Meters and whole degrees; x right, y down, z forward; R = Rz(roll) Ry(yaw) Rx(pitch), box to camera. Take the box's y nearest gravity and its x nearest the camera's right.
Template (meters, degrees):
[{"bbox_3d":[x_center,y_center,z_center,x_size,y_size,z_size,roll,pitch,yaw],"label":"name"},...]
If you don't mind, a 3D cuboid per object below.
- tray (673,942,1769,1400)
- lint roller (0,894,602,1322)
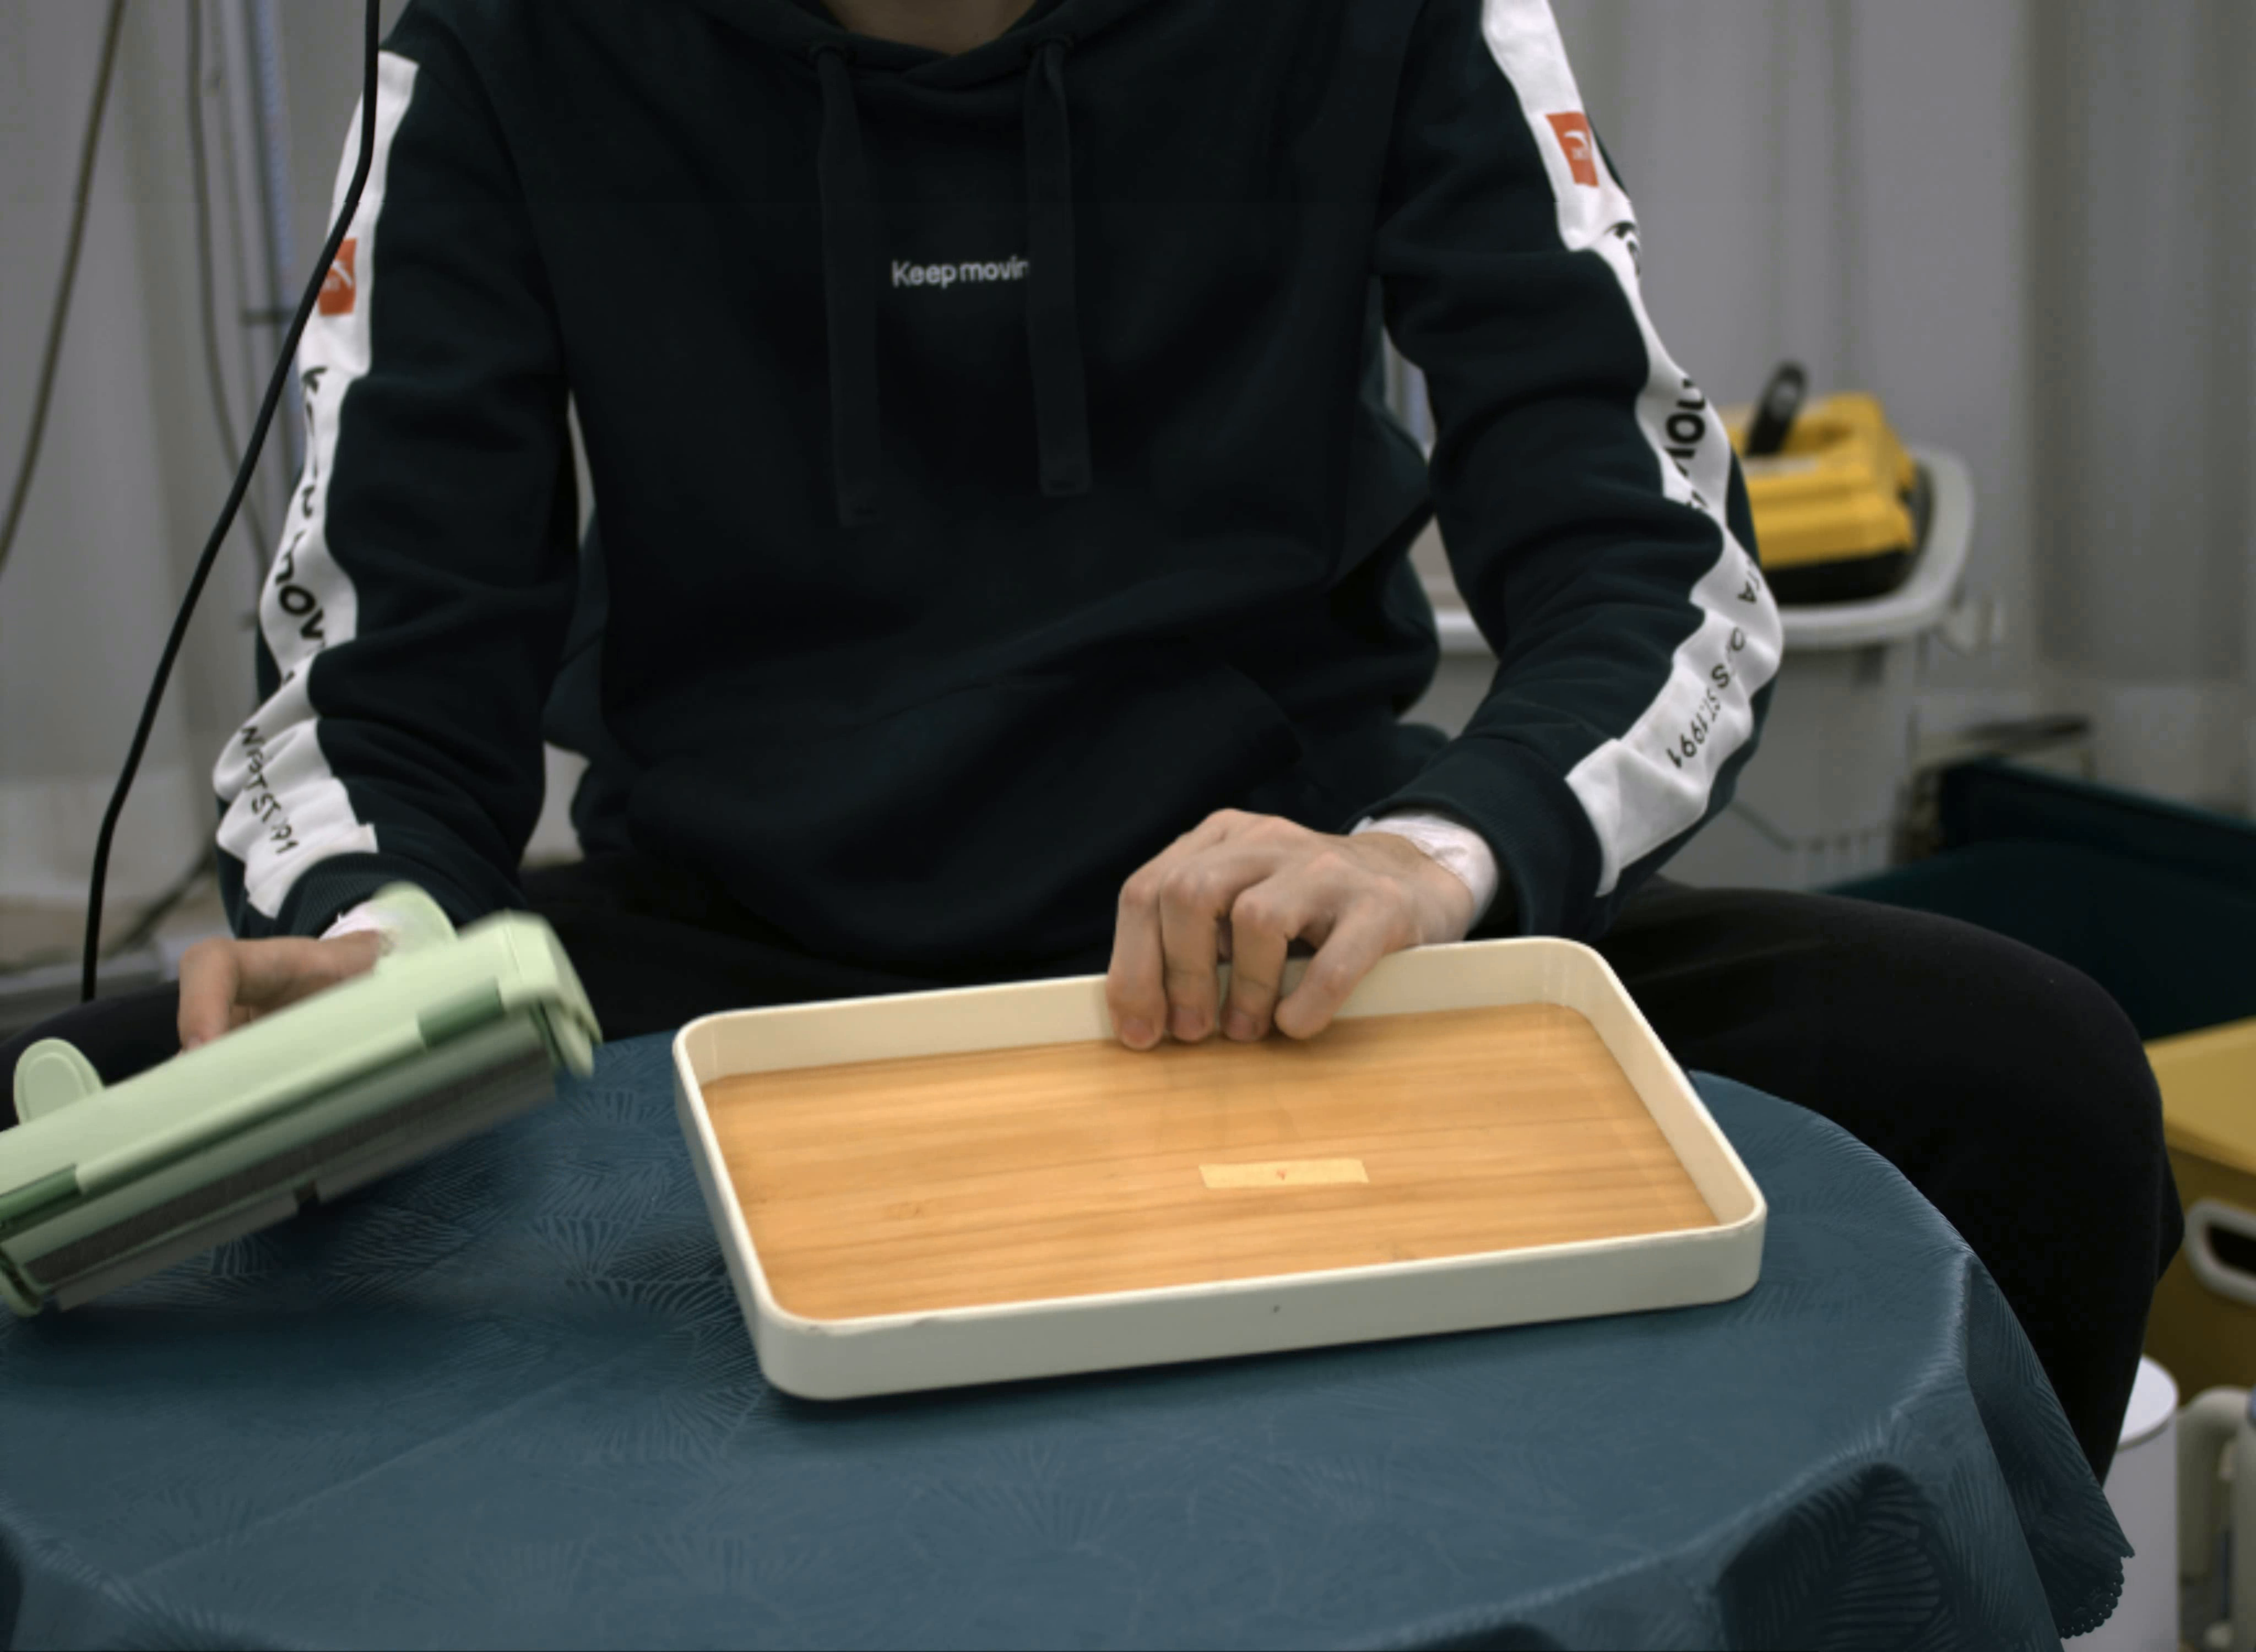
[{"bbox_3d":[0.024,0.100,1.636,0.299,0.027,0.194,-5,26,-12],"label":"tray"},{"bbox_3d":[-0.261,0.073,1.690,0.198,0.082,0.184,-23,11,0],"label":"lint roller"}]
